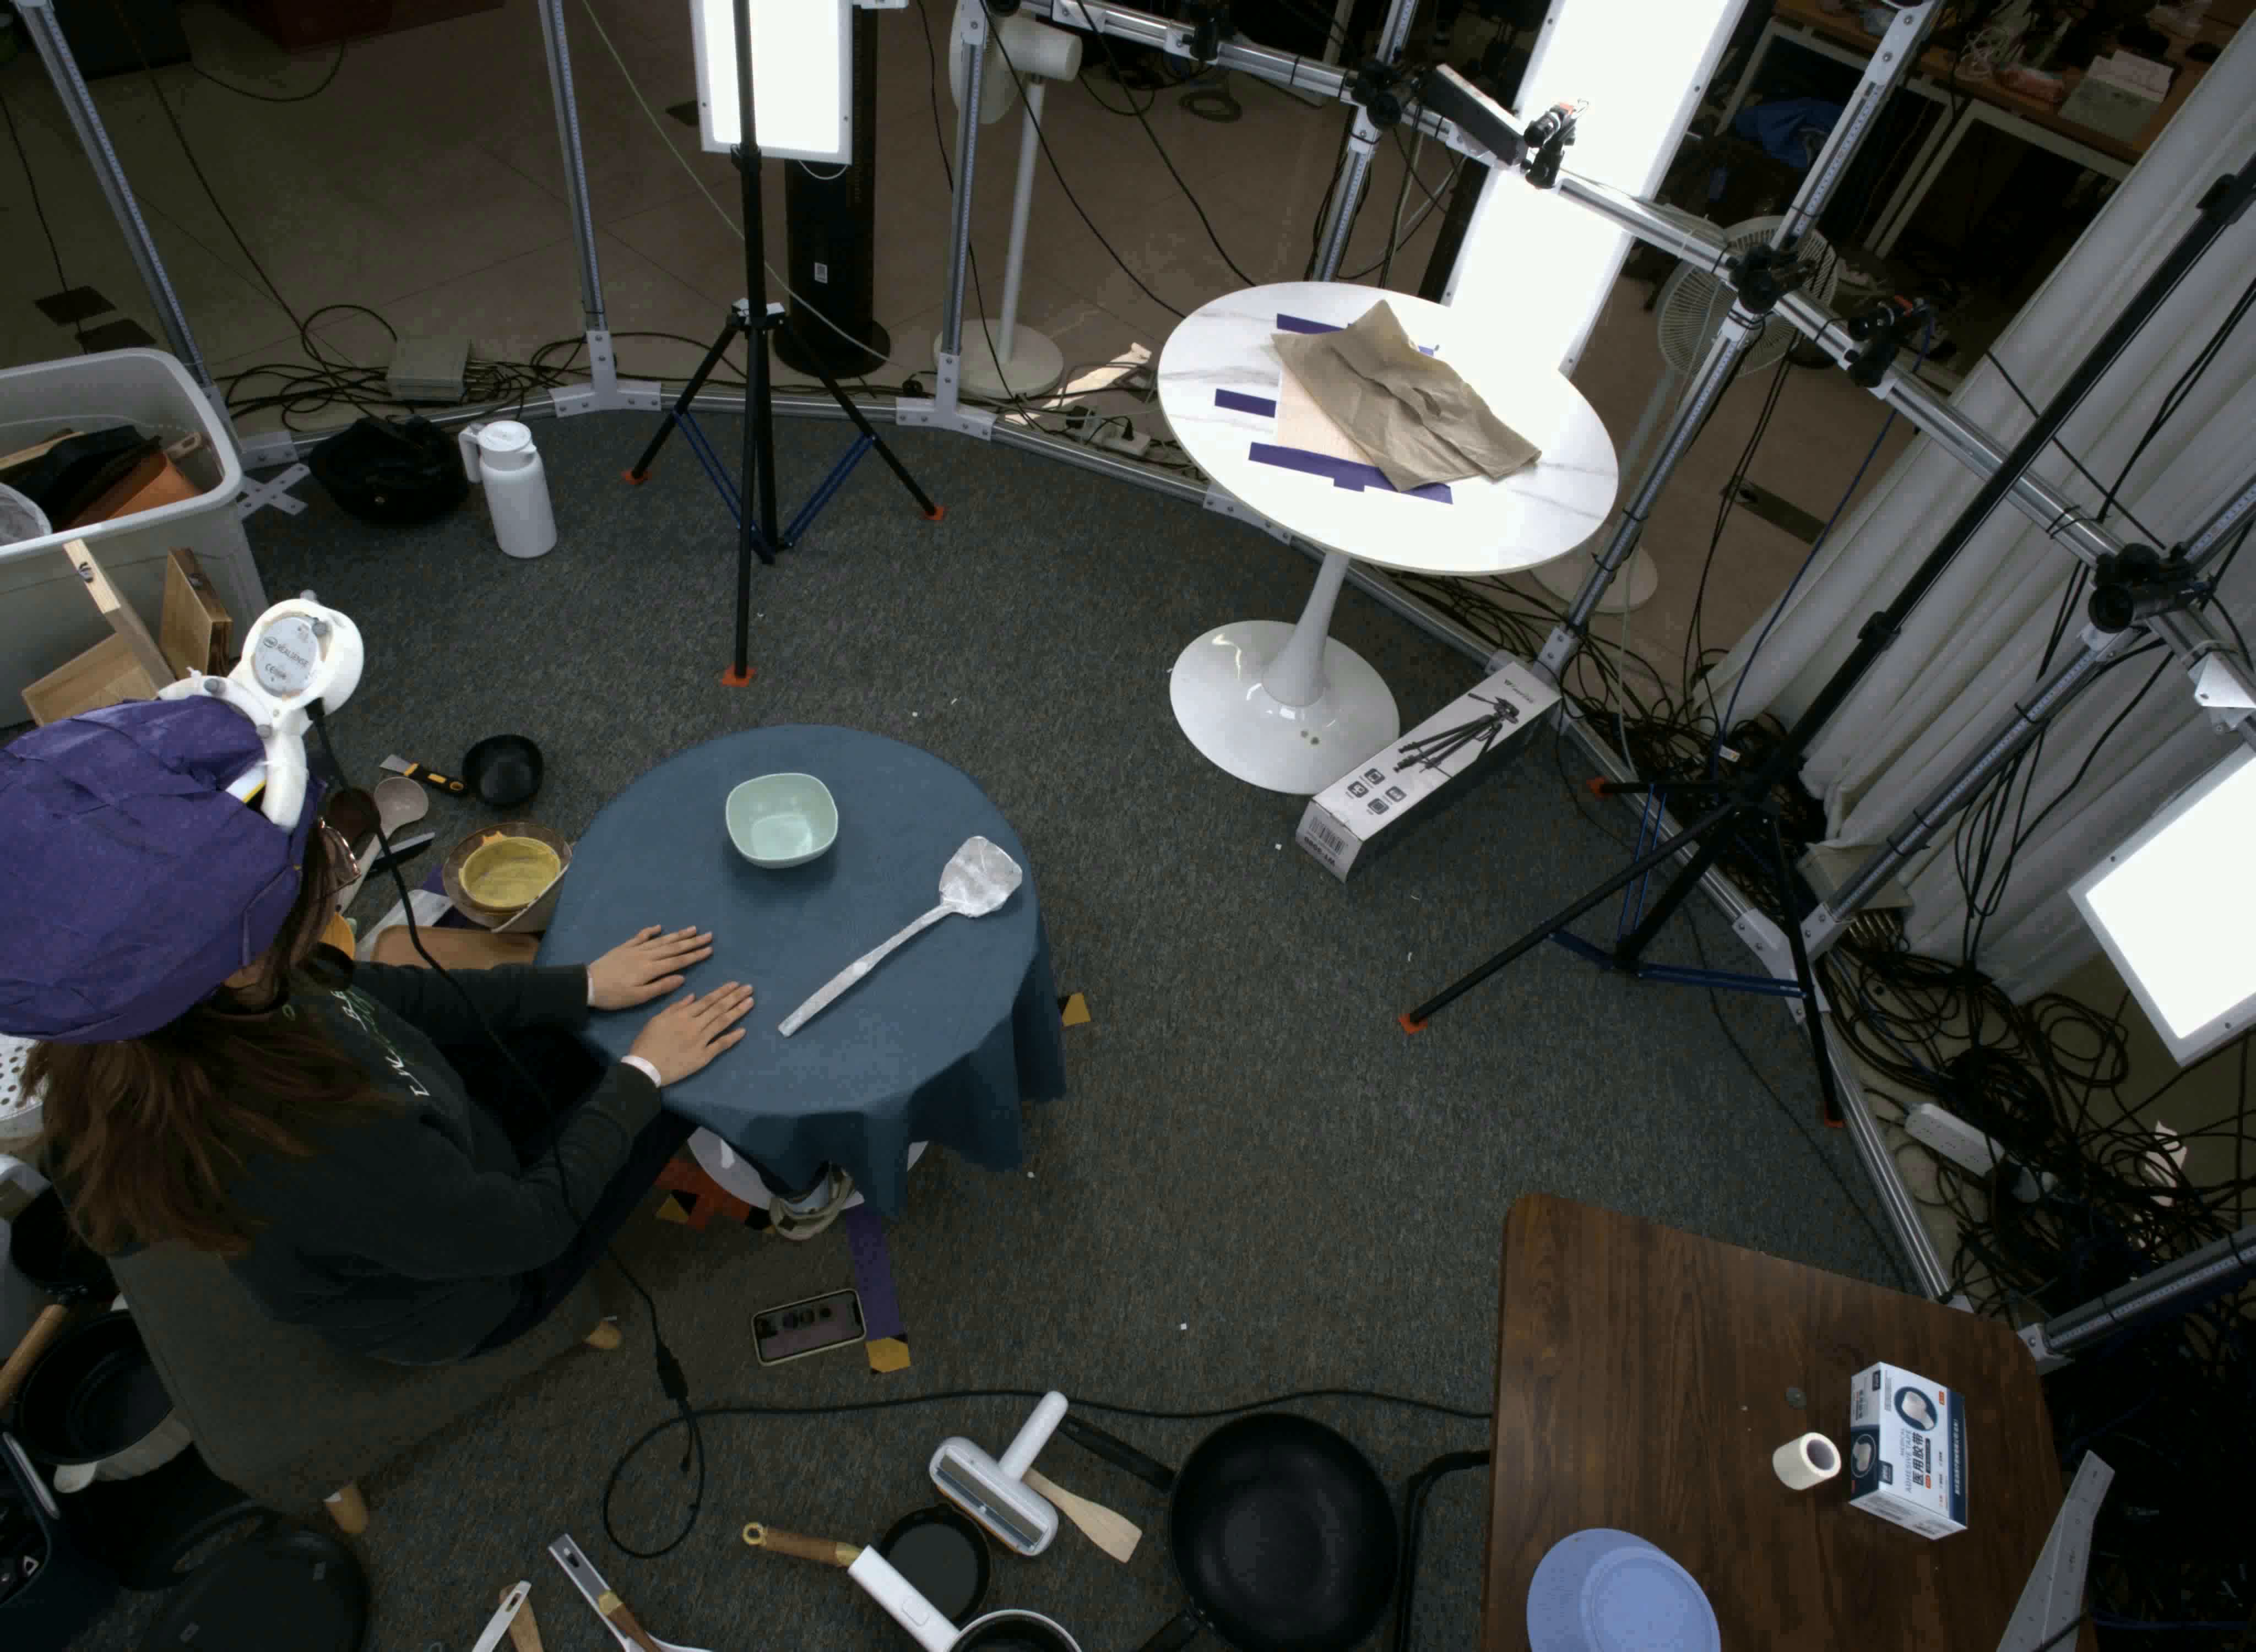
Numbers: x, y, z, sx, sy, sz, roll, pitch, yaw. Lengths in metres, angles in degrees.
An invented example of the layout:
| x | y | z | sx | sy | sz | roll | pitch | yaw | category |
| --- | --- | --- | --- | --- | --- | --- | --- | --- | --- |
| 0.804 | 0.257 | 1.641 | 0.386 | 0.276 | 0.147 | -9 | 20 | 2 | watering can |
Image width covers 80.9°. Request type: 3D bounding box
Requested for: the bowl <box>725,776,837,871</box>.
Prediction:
| x | y | z | sx | sy | sz | roll | pitch | yaw | category |
| --- | --- | --- | --- | --- | --- | --- | --- | --- | --- |
| -0.450 | 0.005 | 1.684 | 0.151 | 0.060 | 0.148 | 8 | 50 | -9 | bowl |

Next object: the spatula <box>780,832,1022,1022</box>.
| x | y | z | sx | sy | sz | roll | pitch | yaw | category |
| --- | --- | --- | --- | --- | --- | --- | --- | --- | --- |
| -0.288 | 0.133 | 1.640 | 0.097 | 0.045 | 0.365 | 42 | 55 | 16 | spatula |
